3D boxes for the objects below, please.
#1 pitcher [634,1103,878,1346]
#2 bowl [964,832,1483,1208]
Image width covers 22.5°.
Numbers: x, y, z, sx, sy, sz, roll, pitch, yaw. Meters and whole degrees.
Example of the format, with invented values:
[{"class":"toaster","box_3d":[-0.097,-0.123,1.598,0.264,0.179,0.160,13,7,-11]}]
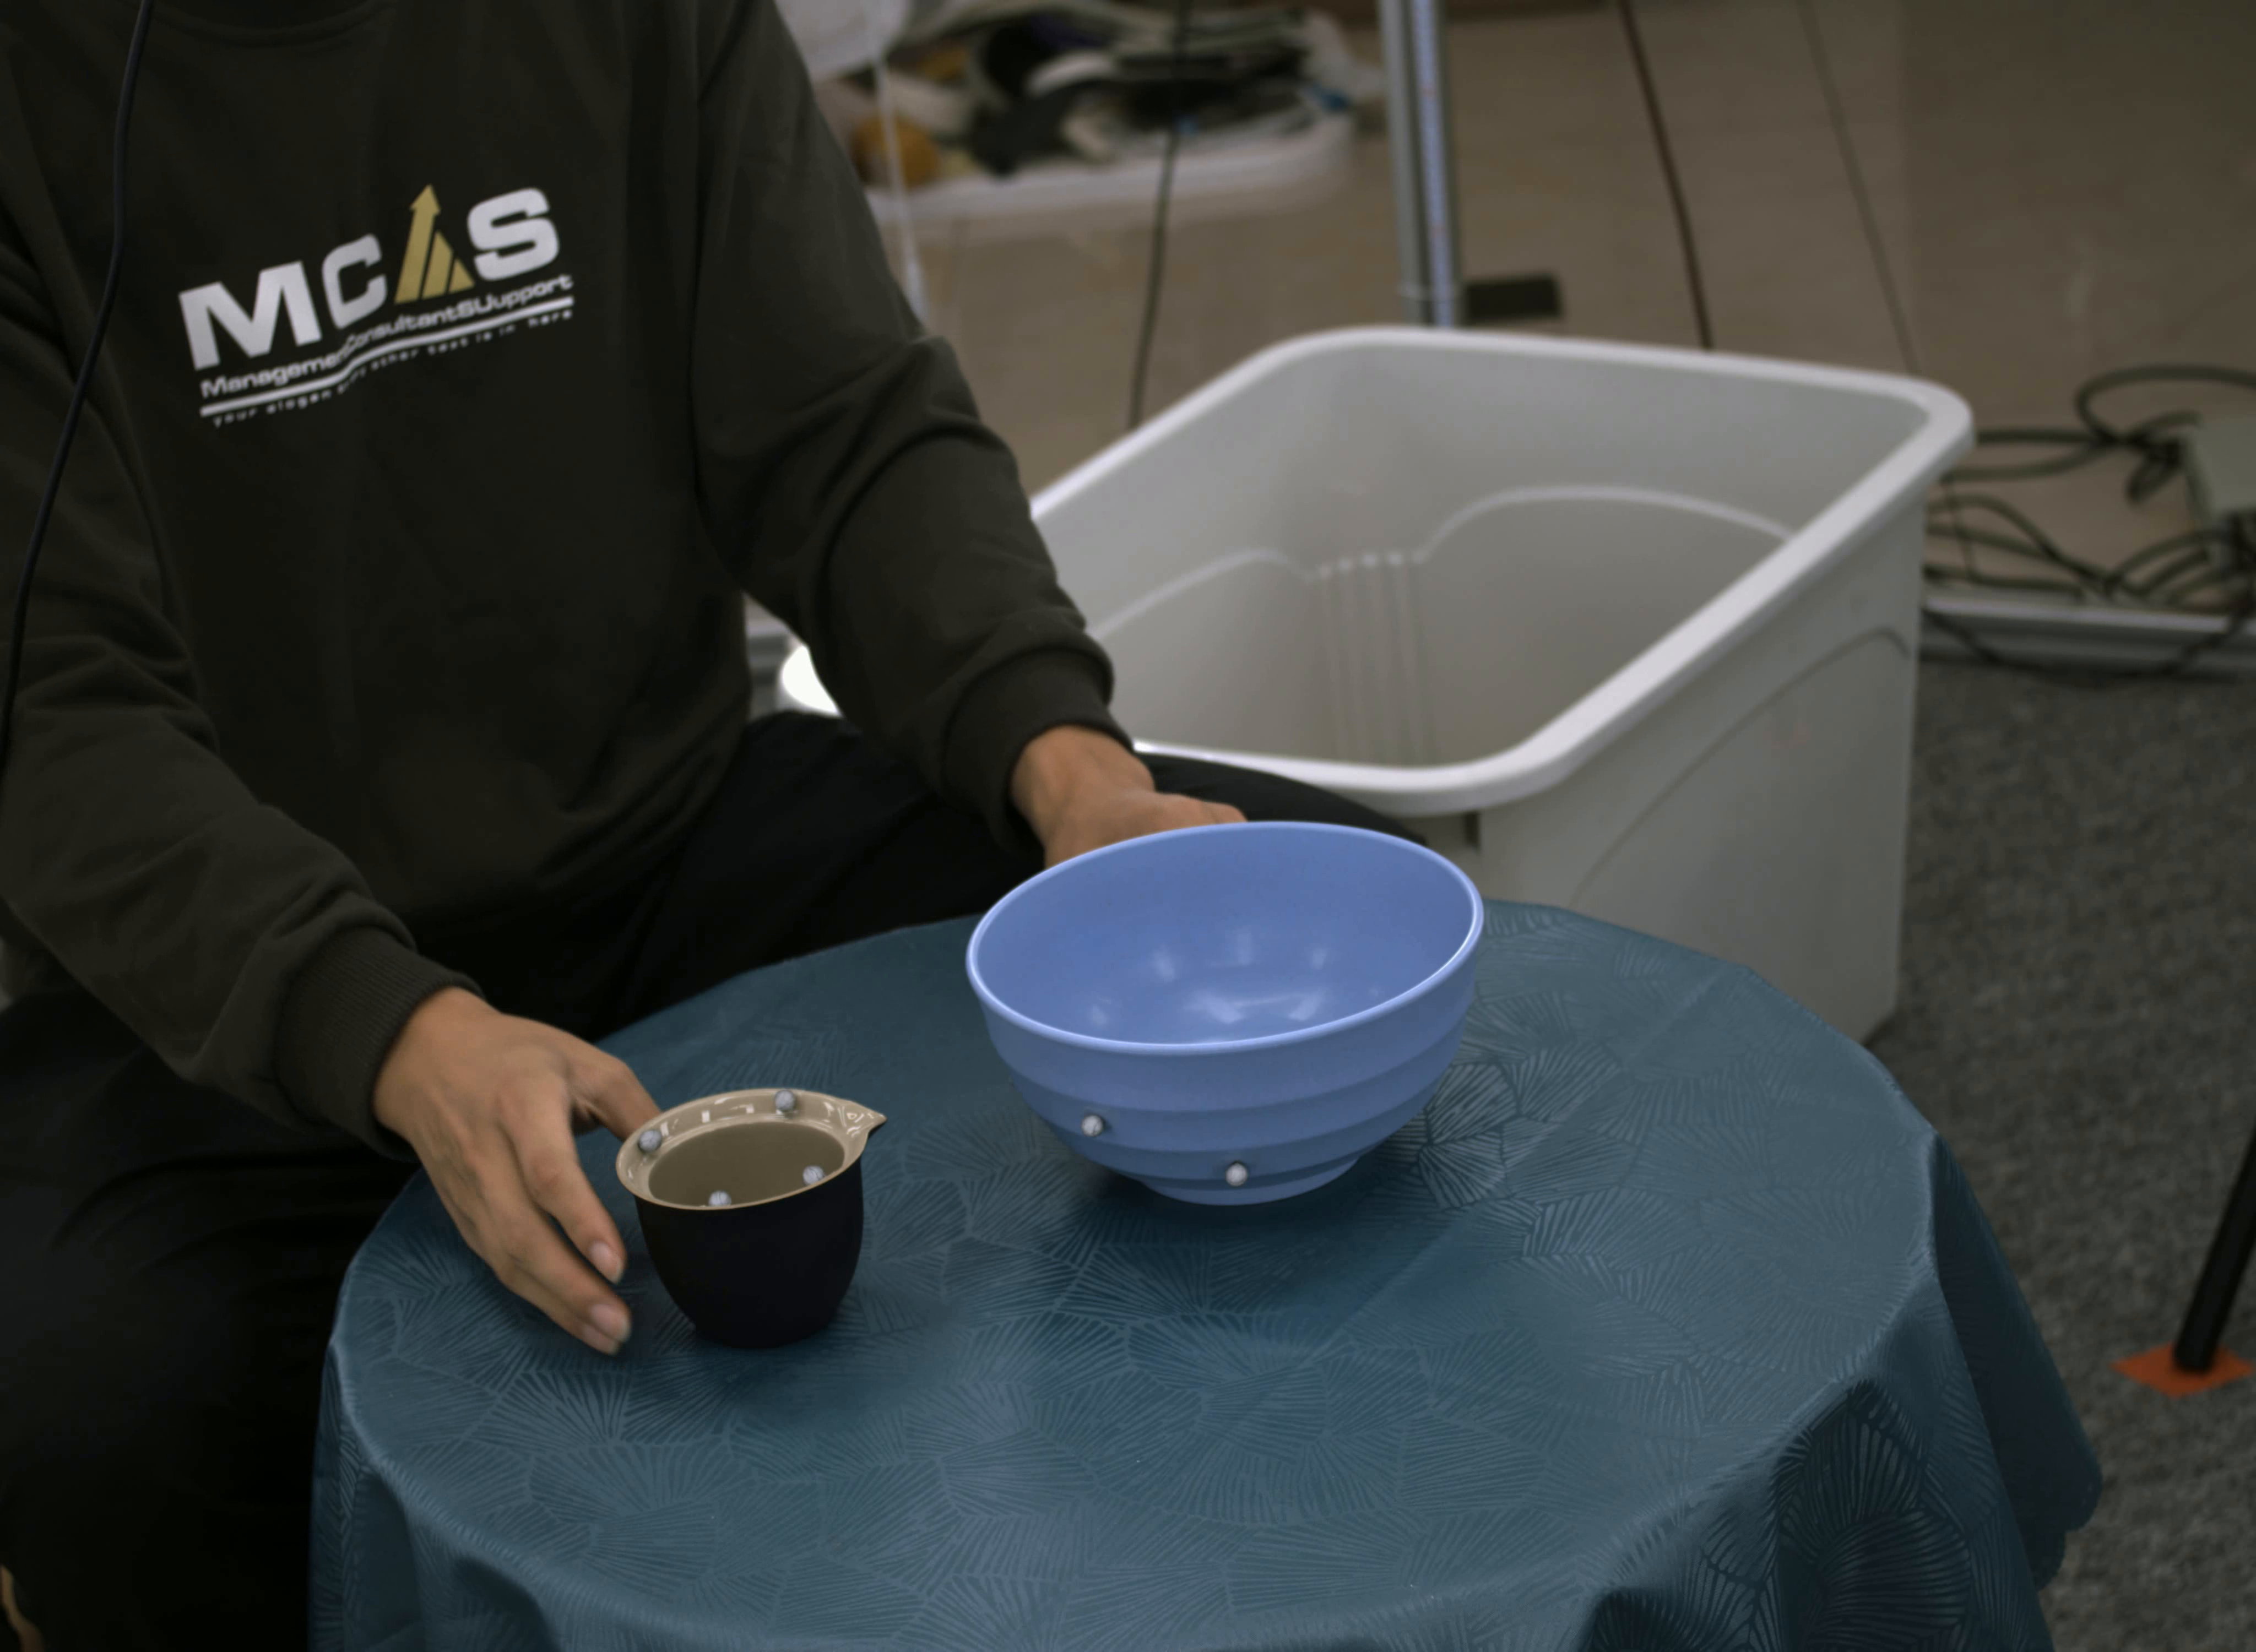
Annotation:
[{"class":"pitcher","box_3d":[-0.131,0.146,2.075,0.095,0.072,0.082,-16,25,-18]},{"class":"bowl","box_3d":[0.041,0.082,2.149,0.196,0.097,0.194,-6,23,3]}]
